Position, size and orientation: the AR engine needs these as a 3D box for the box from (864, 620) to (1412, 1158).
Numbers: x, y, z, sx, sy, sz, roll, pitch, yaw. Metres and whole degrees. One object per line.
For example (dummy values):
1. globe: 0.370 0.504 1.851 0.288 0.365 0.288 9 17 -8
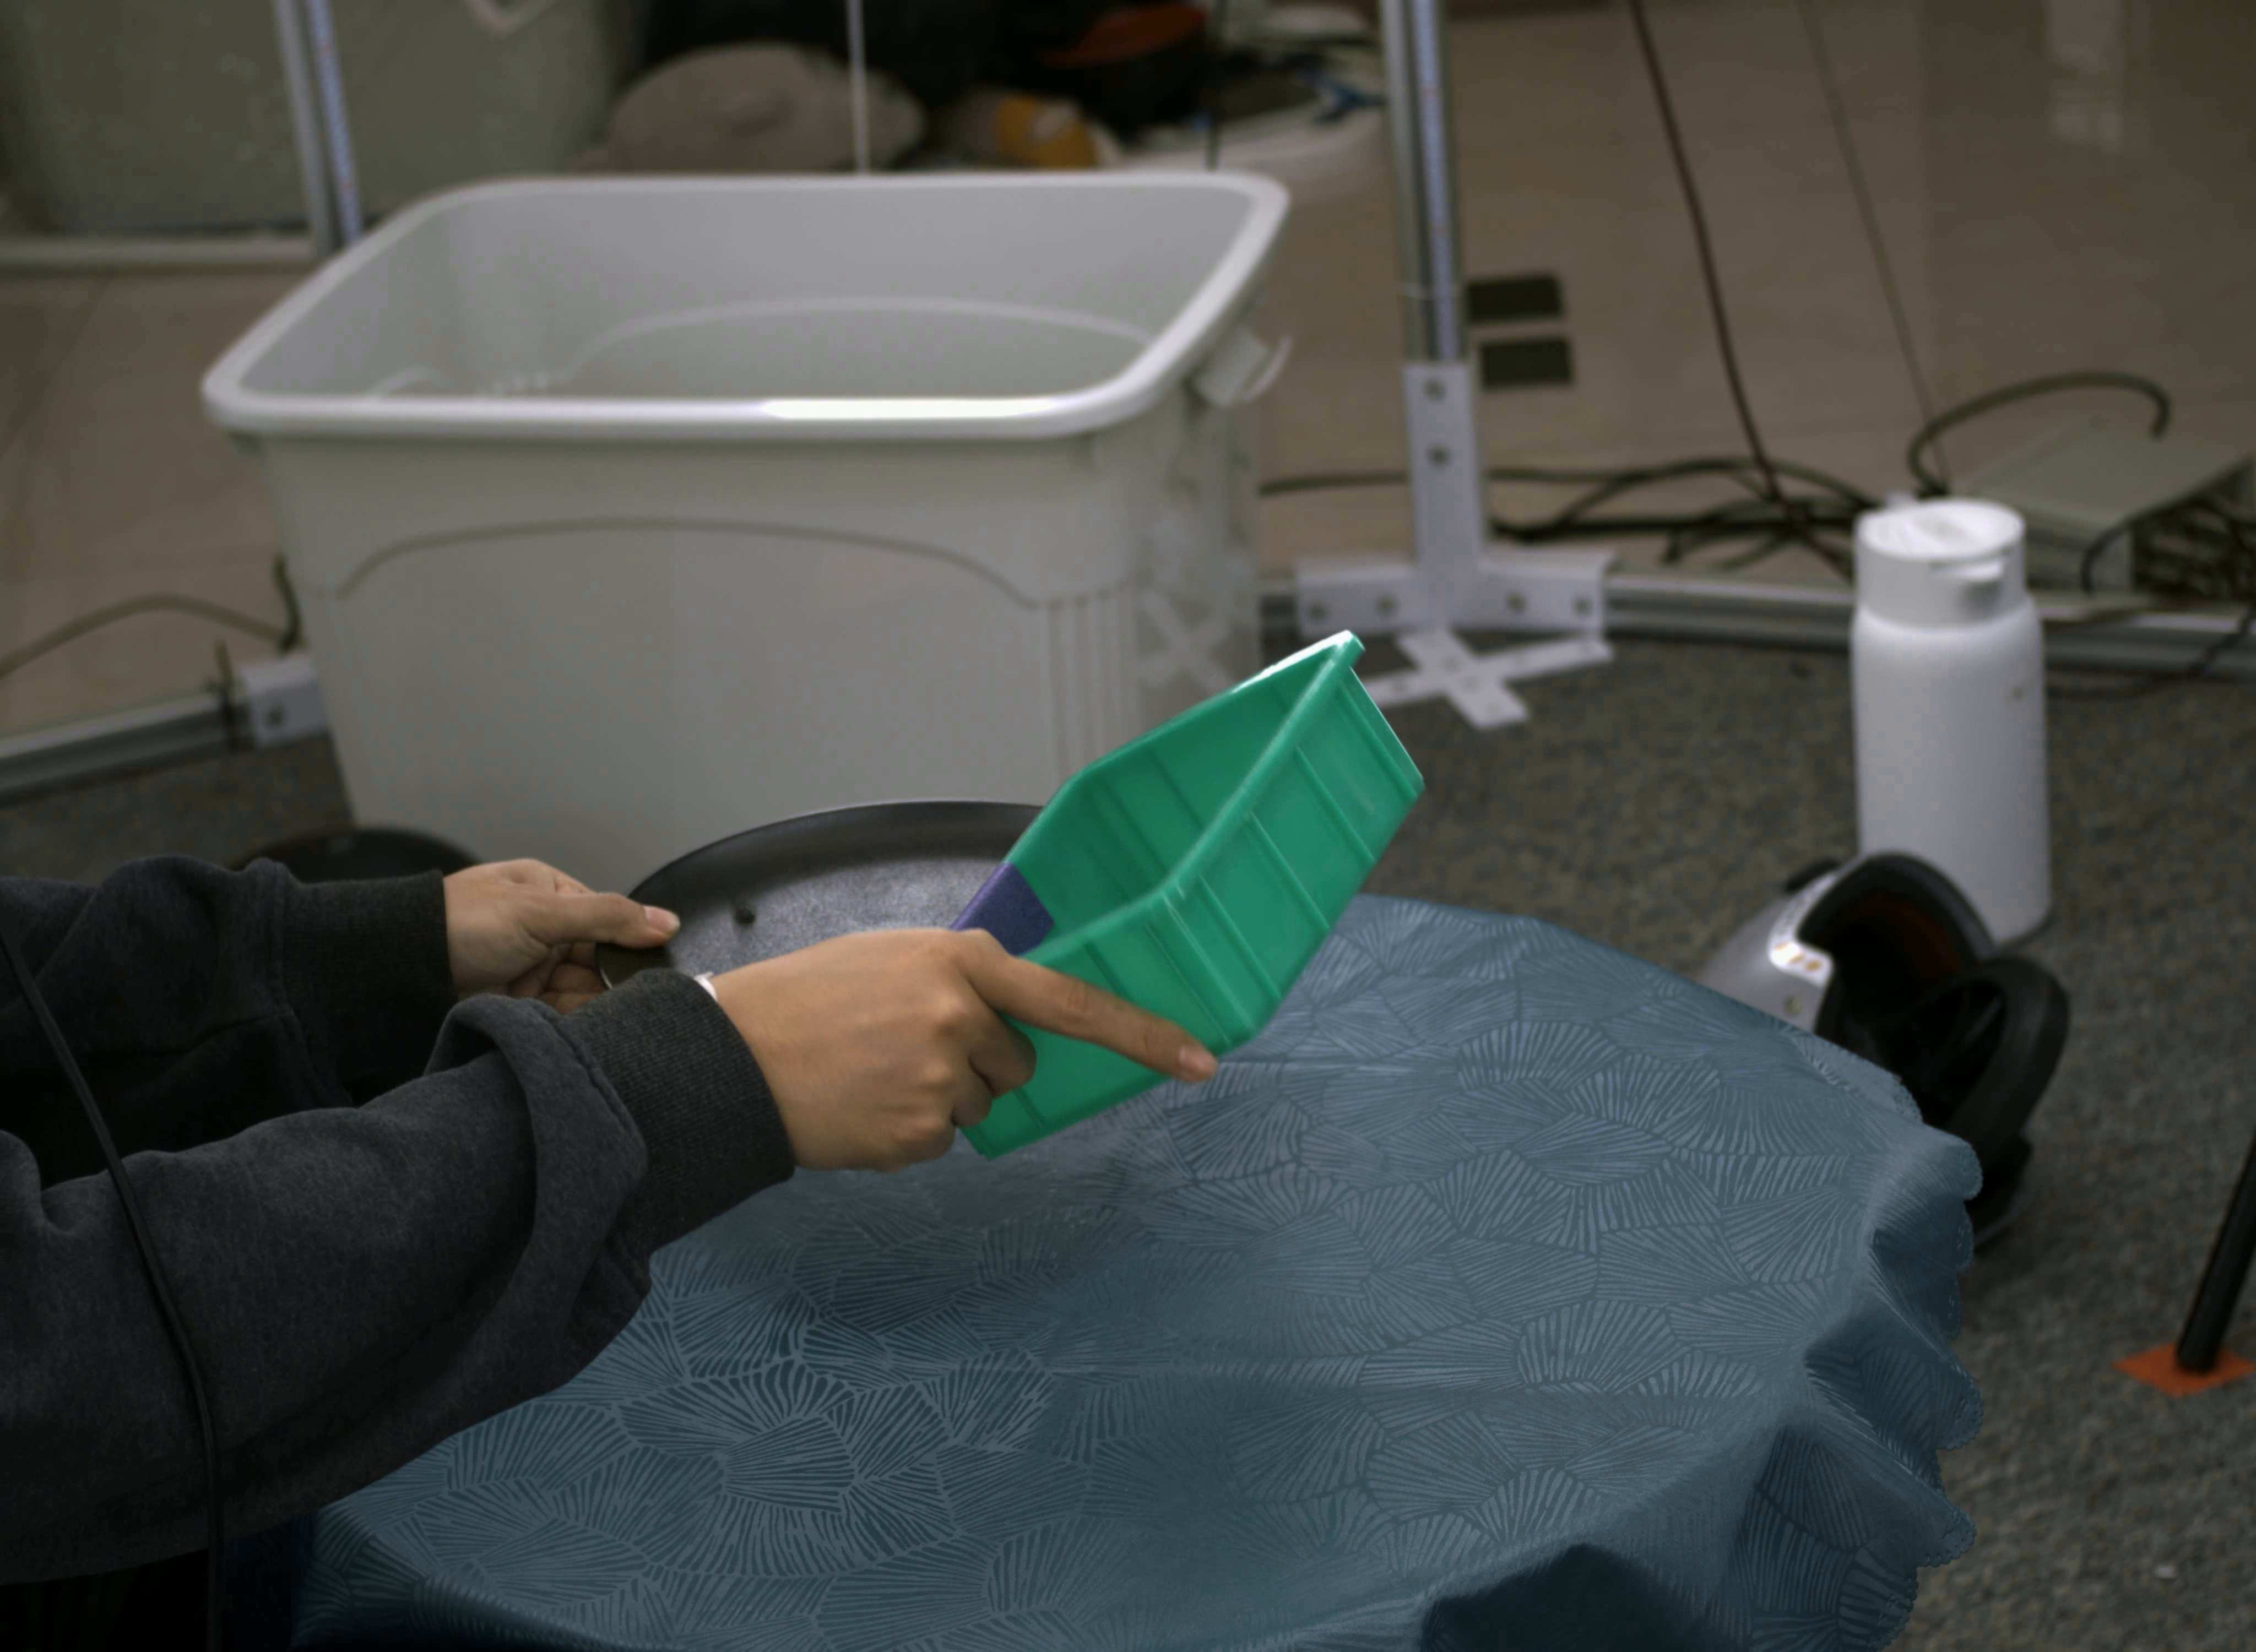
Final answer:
1. box: 0.010 0.023 1.915 0.139 0.066 0.207 -30 15 33

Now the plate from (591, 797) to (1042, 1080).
1. plate: -0.083 0.047 2.167 0.244 0.024 0.241 -2 25 1
